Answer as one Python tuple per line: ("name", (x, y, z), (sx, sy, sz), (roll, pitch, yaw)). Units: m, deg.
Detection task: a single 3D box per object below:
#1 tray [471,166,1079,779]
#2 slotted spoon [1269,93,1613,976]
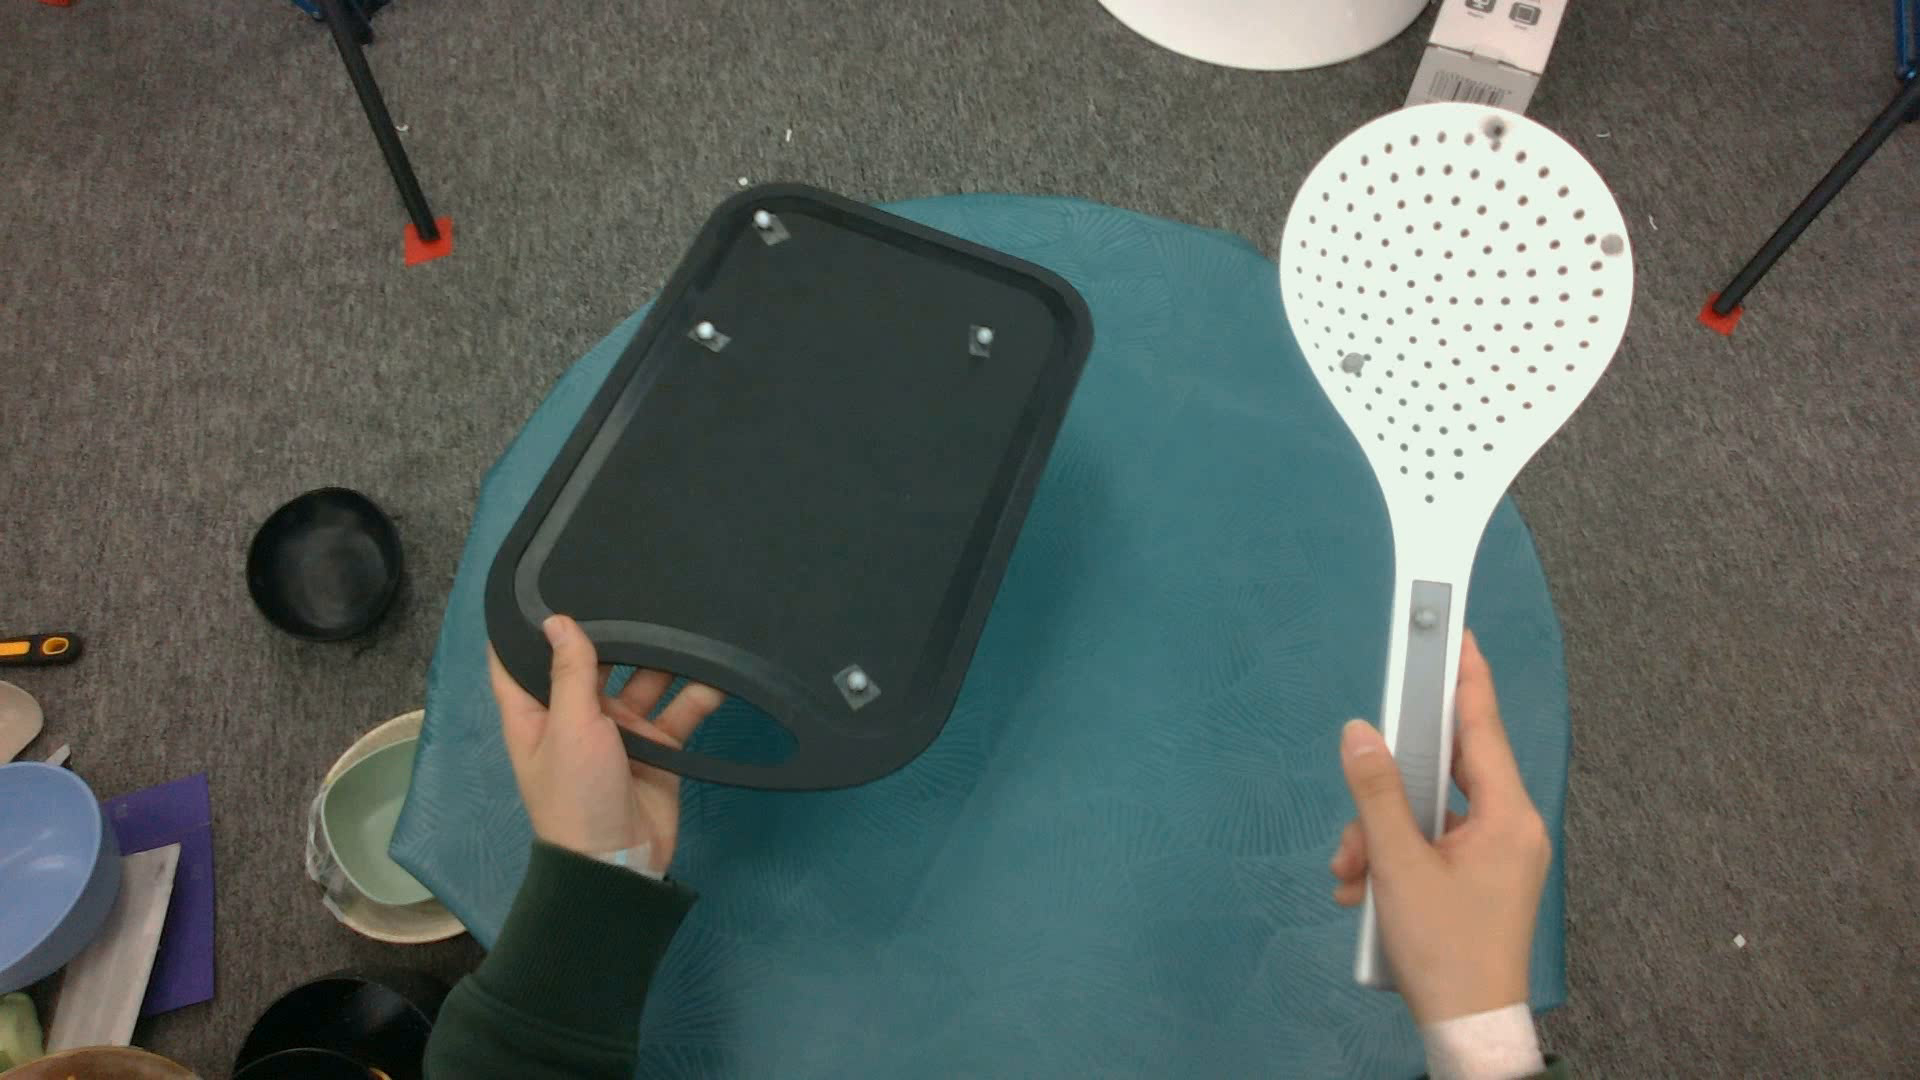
("tray", (-0.077, -0.045, 0.640), (0.211, 0.010, 0.327), (20, 59, 4))
("slotted spoon", (0.182, -0.007, 0.548), (0.136, 0.045, 0.350), (6, 79, 4))
